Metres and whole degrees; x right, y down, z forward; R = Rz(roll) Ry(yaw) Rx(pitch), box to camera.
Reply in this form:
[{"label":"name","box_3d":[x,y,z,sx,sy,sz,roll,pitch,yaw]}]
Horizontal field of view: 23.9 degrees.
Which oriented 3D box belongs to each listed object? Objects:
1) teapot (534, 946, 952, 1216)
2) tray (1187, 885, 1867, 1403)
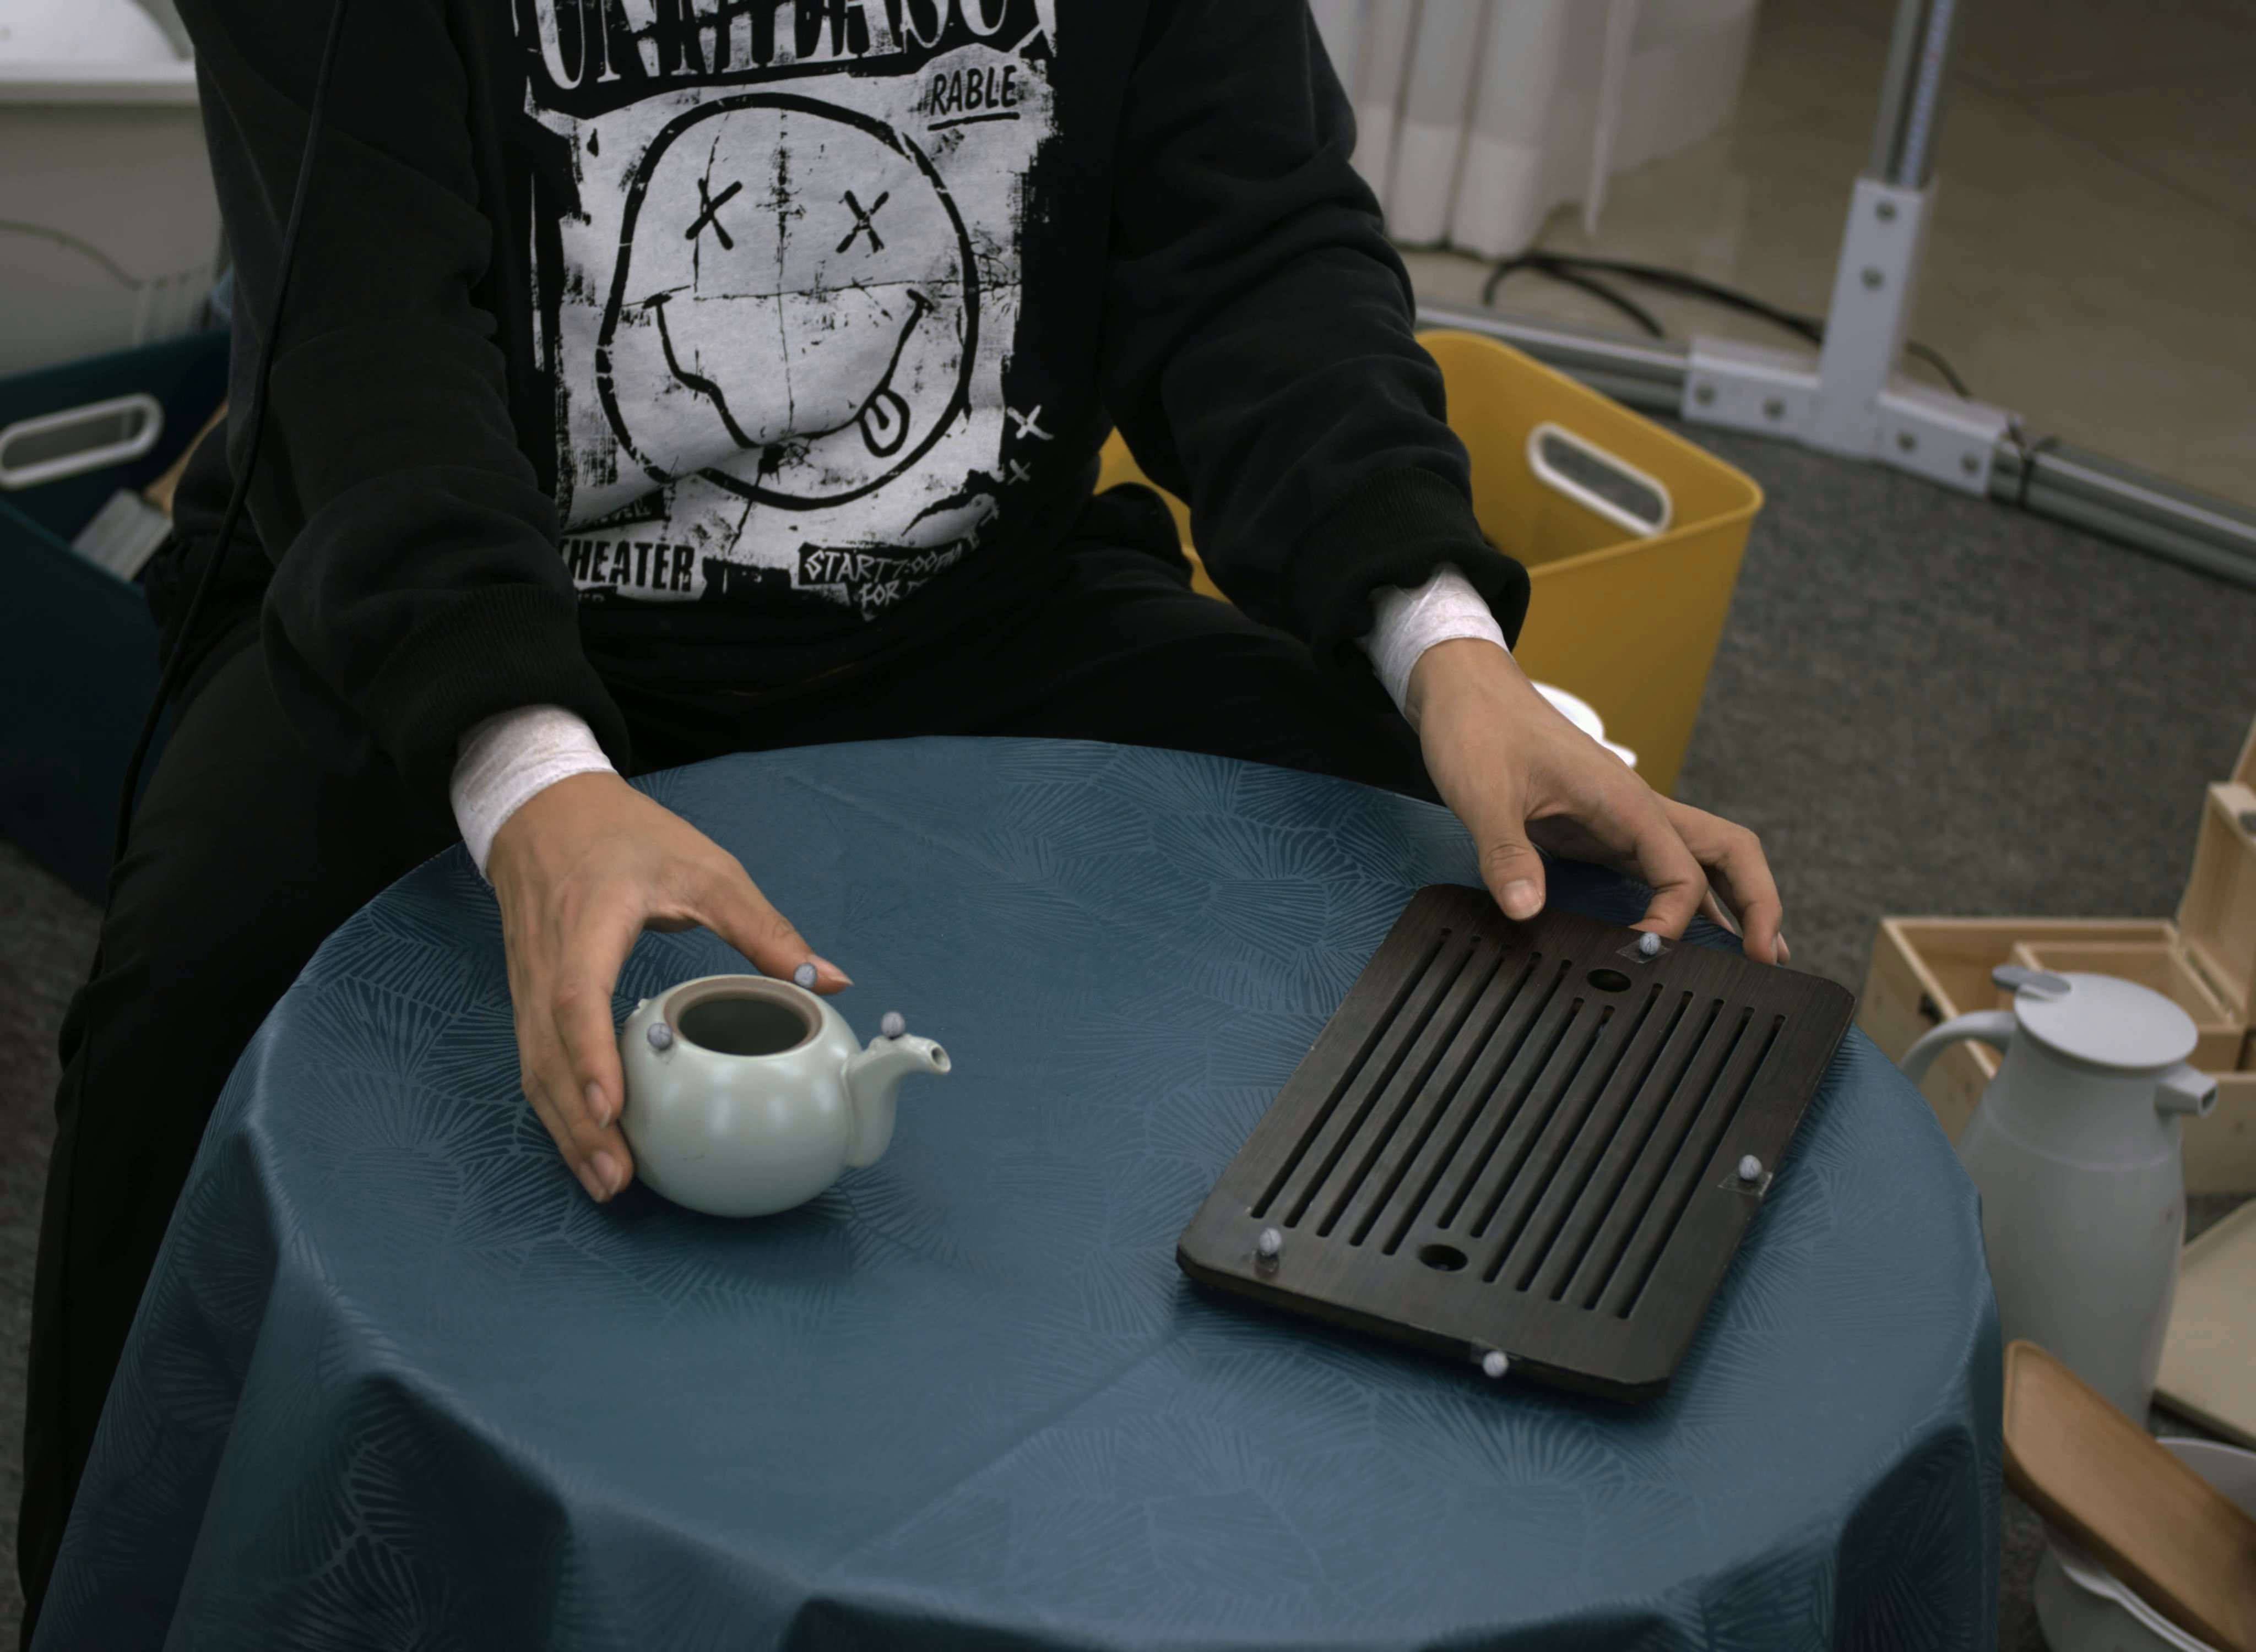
[{"label":"teapot","box_3d":[-0.130,0.088,1.766,0.144,0.074,0.088,15,28,13]},{"label":"tray","box_3d":[0.145,0.107,1.850,0.170,0.018,0.306,14,28,15]}]
